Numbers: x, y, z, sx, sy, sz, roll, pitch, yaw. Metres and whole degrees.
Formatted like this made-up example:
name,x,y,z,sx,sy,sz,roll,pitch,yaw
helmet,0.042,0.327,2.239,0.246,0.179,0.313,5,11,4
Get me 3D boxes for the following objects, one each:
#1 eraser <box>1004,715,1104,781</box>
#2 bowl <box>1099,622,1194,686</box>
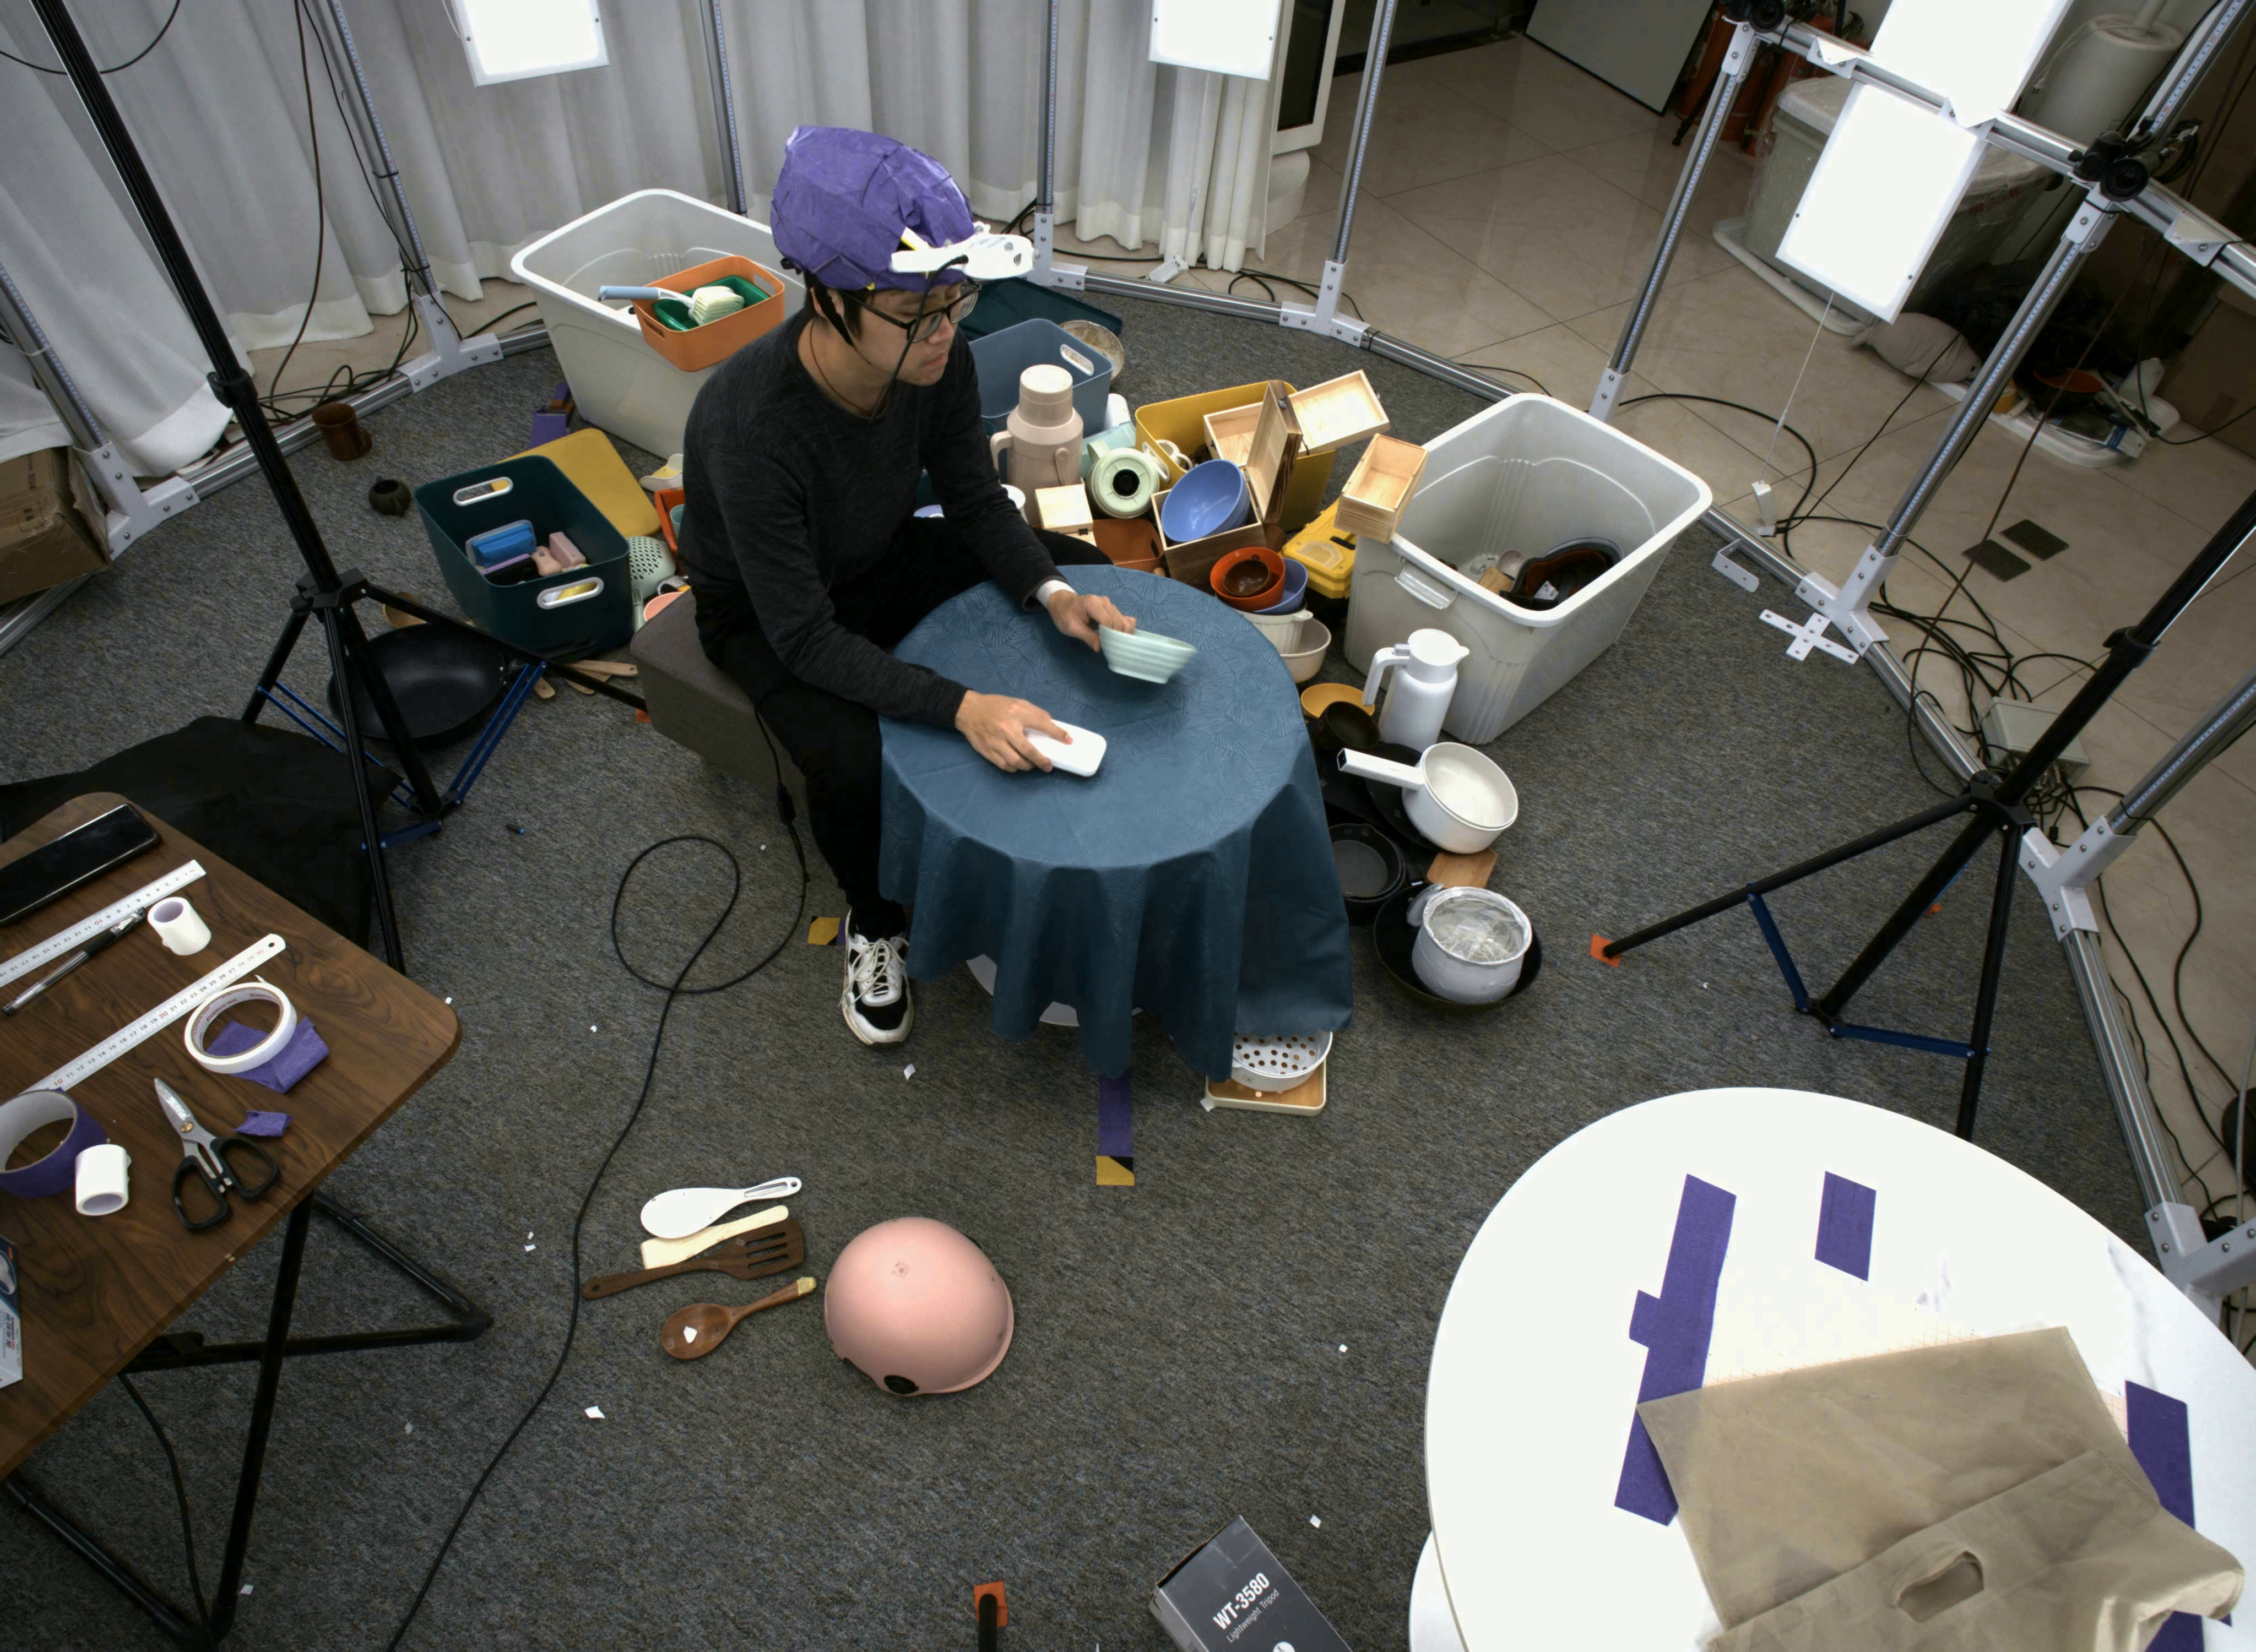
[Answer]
name,x,y,z,sx,sy,sz,roll,pitch,yaw
eraser,-0.099,-0.108,1.729,0.132,0.034,0.064,20,56,8
bowl,0.019,-0.240,1.815,0.151,0.058,0.153,15,13,-4
